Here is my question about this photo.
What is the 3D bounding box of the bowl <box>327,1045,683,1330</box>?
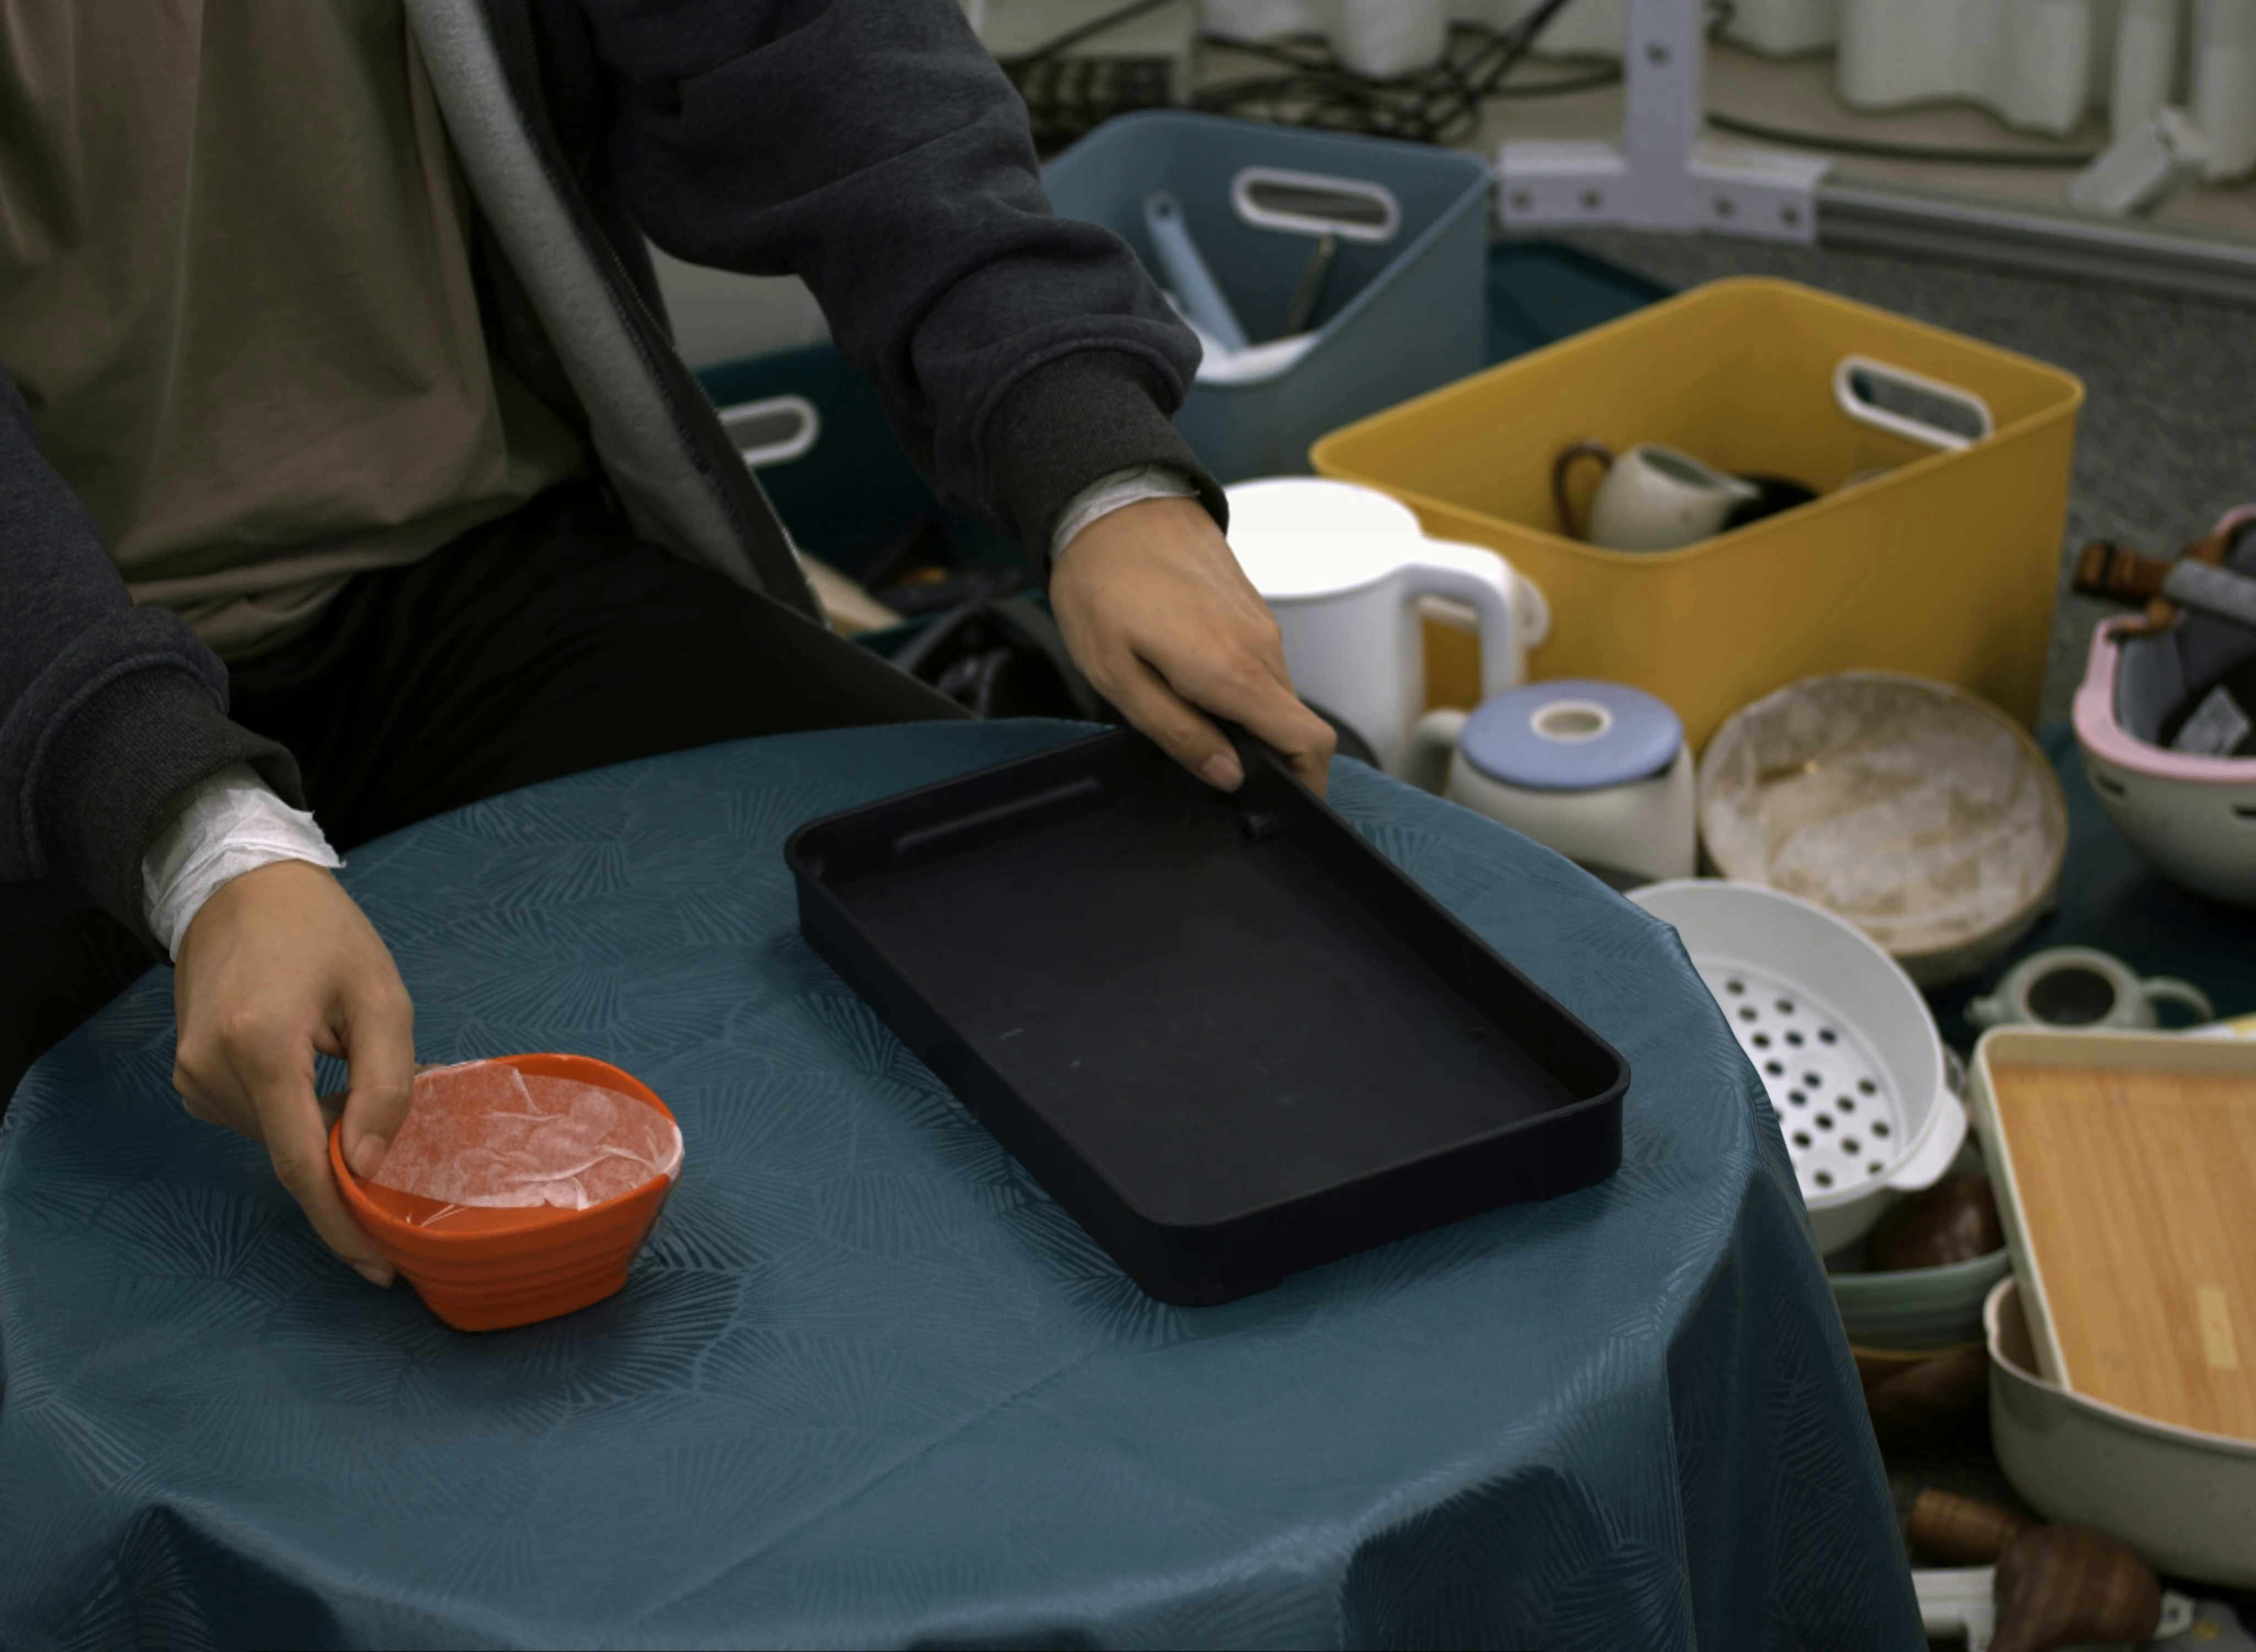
[{"bbox_3d":[-0.200,0.122,1.821,0.118,0.051,0.121,-1,28,1],"label":"bowl"}]

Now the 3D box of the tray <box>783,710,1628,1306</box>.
[{"bbox_3d":[0.021,0.056,1.943,0.185,0.036,0.320,-16,31,-22],"label":"tray"}]
